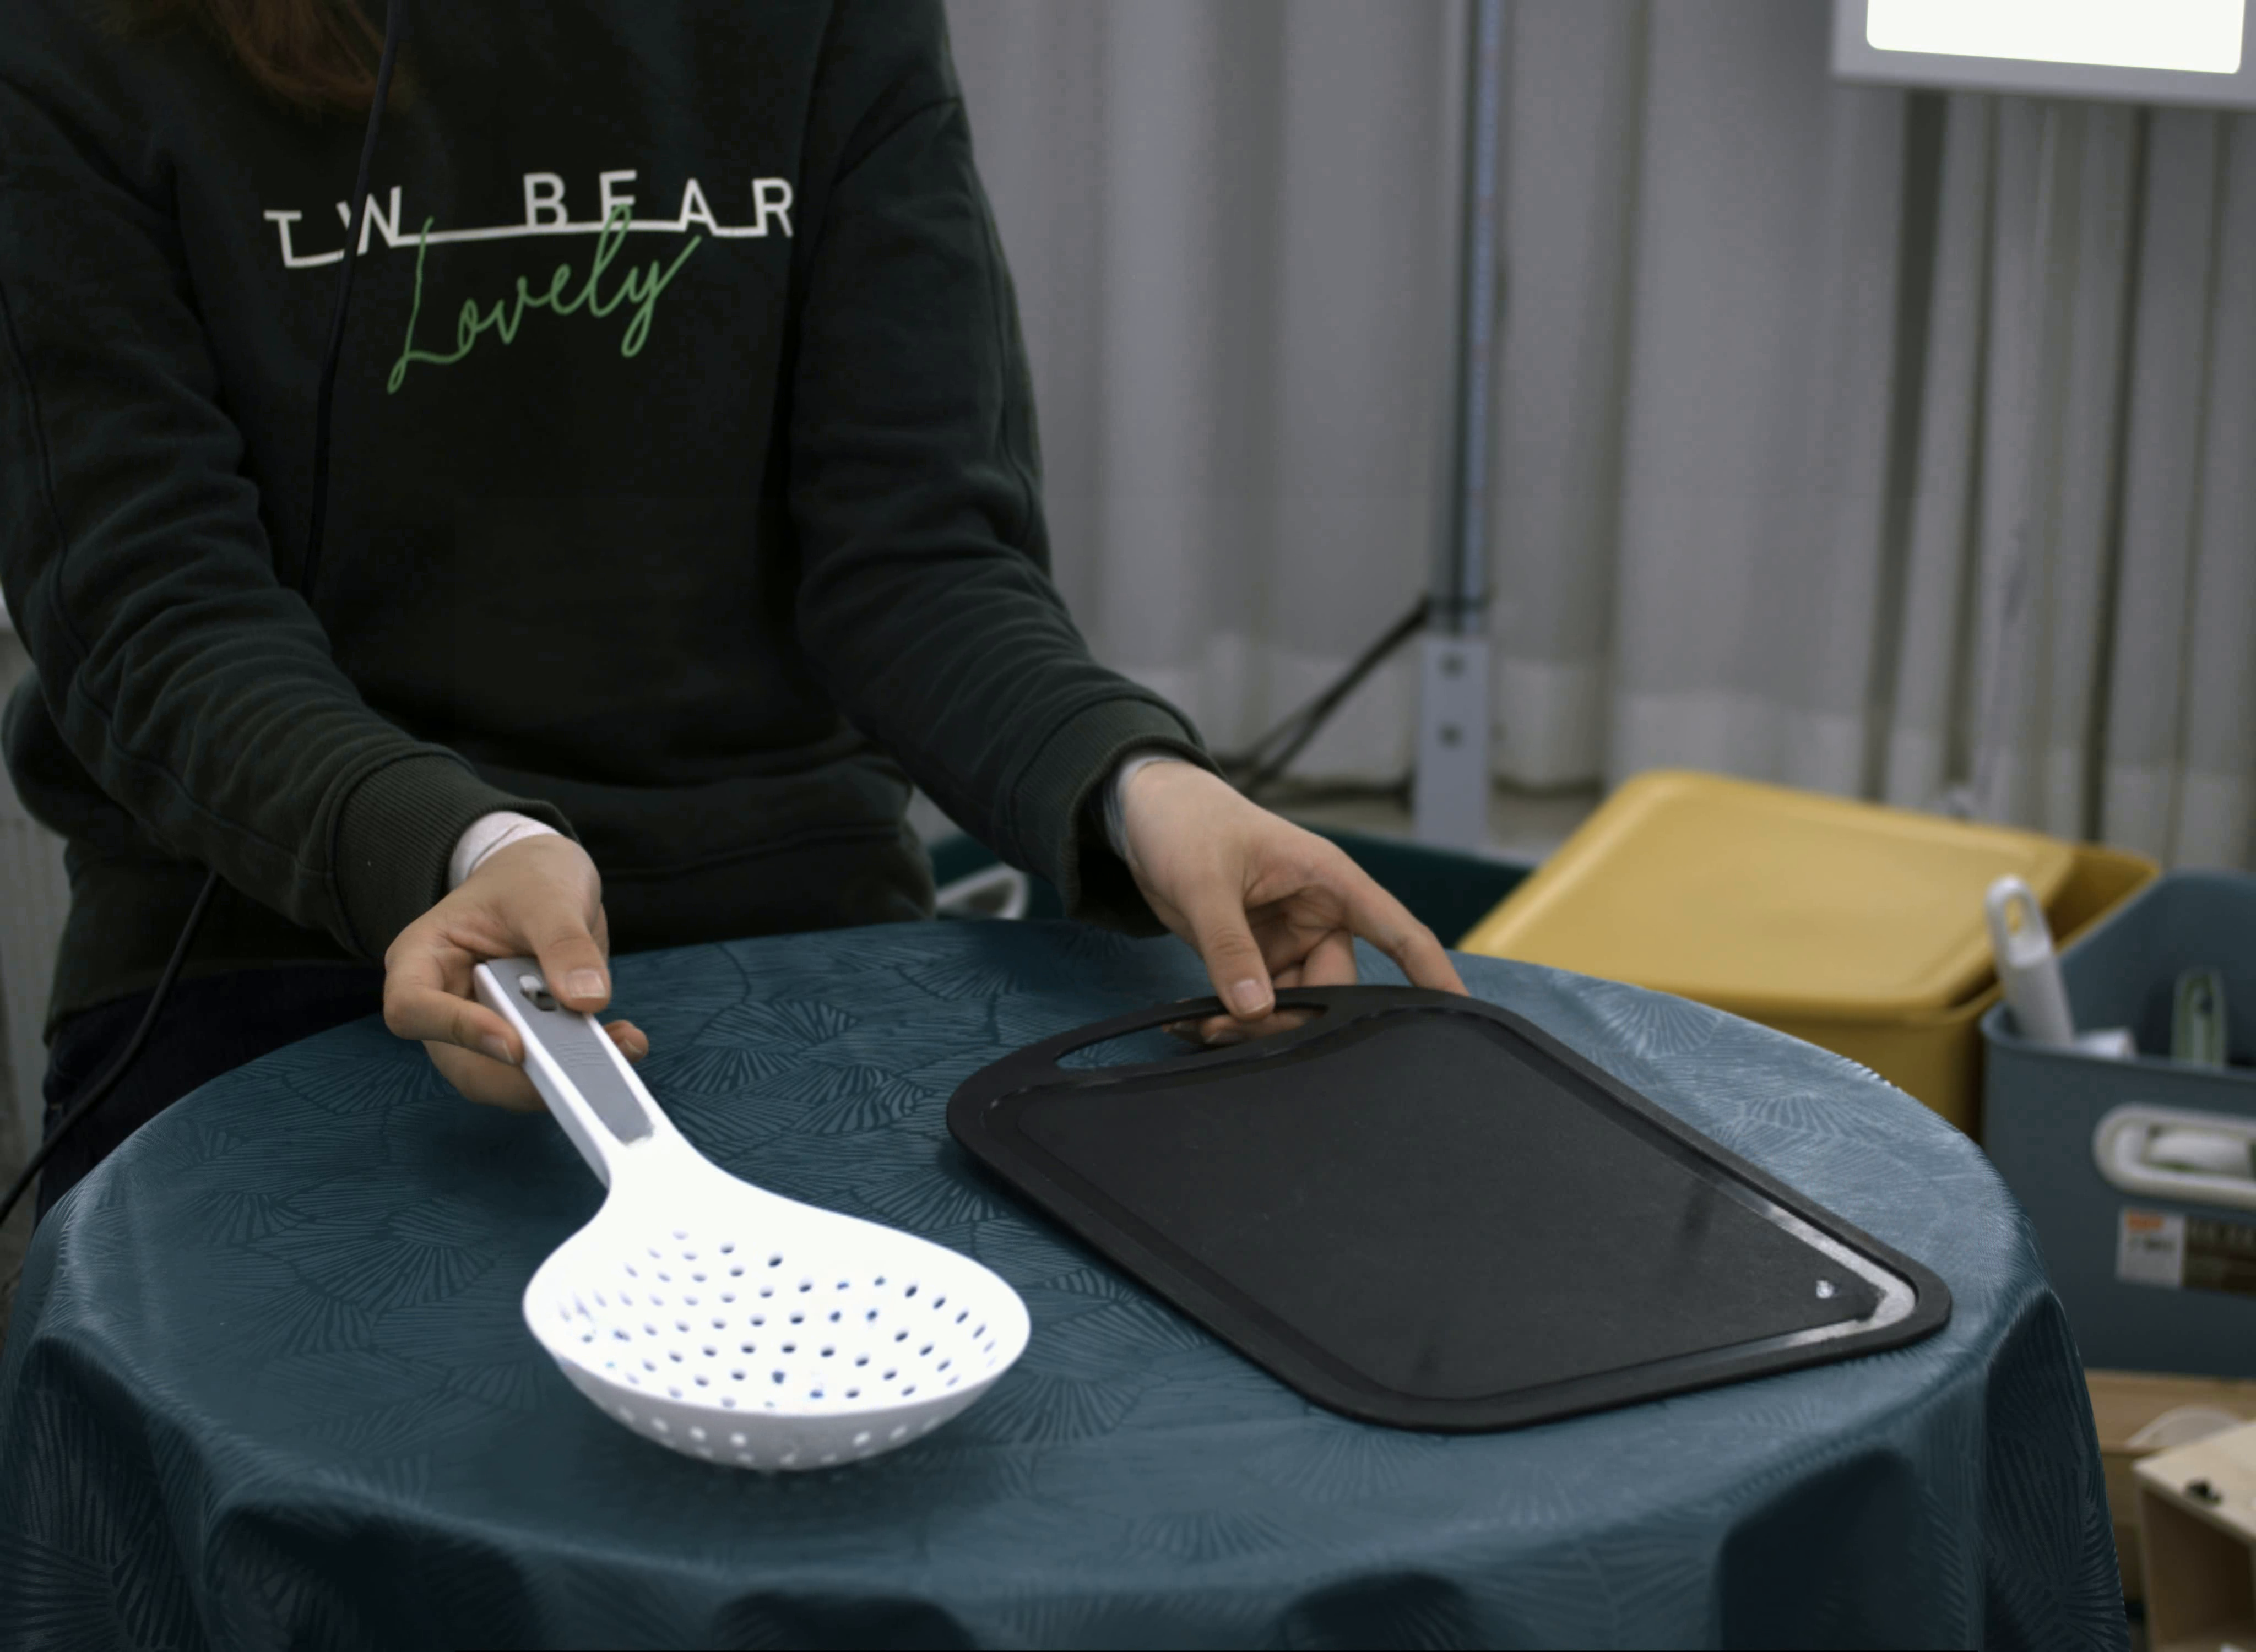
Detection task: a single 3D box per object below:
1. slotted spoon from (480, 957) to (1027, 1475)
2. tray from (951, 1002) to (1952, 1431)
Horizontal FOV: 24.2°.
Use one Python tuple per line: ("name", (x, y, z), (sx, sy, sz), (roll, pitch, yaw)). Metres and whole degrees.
("slotted spoon", (-0.133, 0.103, 1.507), (0.136, 0.046, 0.345), (-1, 24, -22))
("tray", (0.087, 0.110, 1.602), (0.212, 0.010, 0.321), (-8, 21, -28))
